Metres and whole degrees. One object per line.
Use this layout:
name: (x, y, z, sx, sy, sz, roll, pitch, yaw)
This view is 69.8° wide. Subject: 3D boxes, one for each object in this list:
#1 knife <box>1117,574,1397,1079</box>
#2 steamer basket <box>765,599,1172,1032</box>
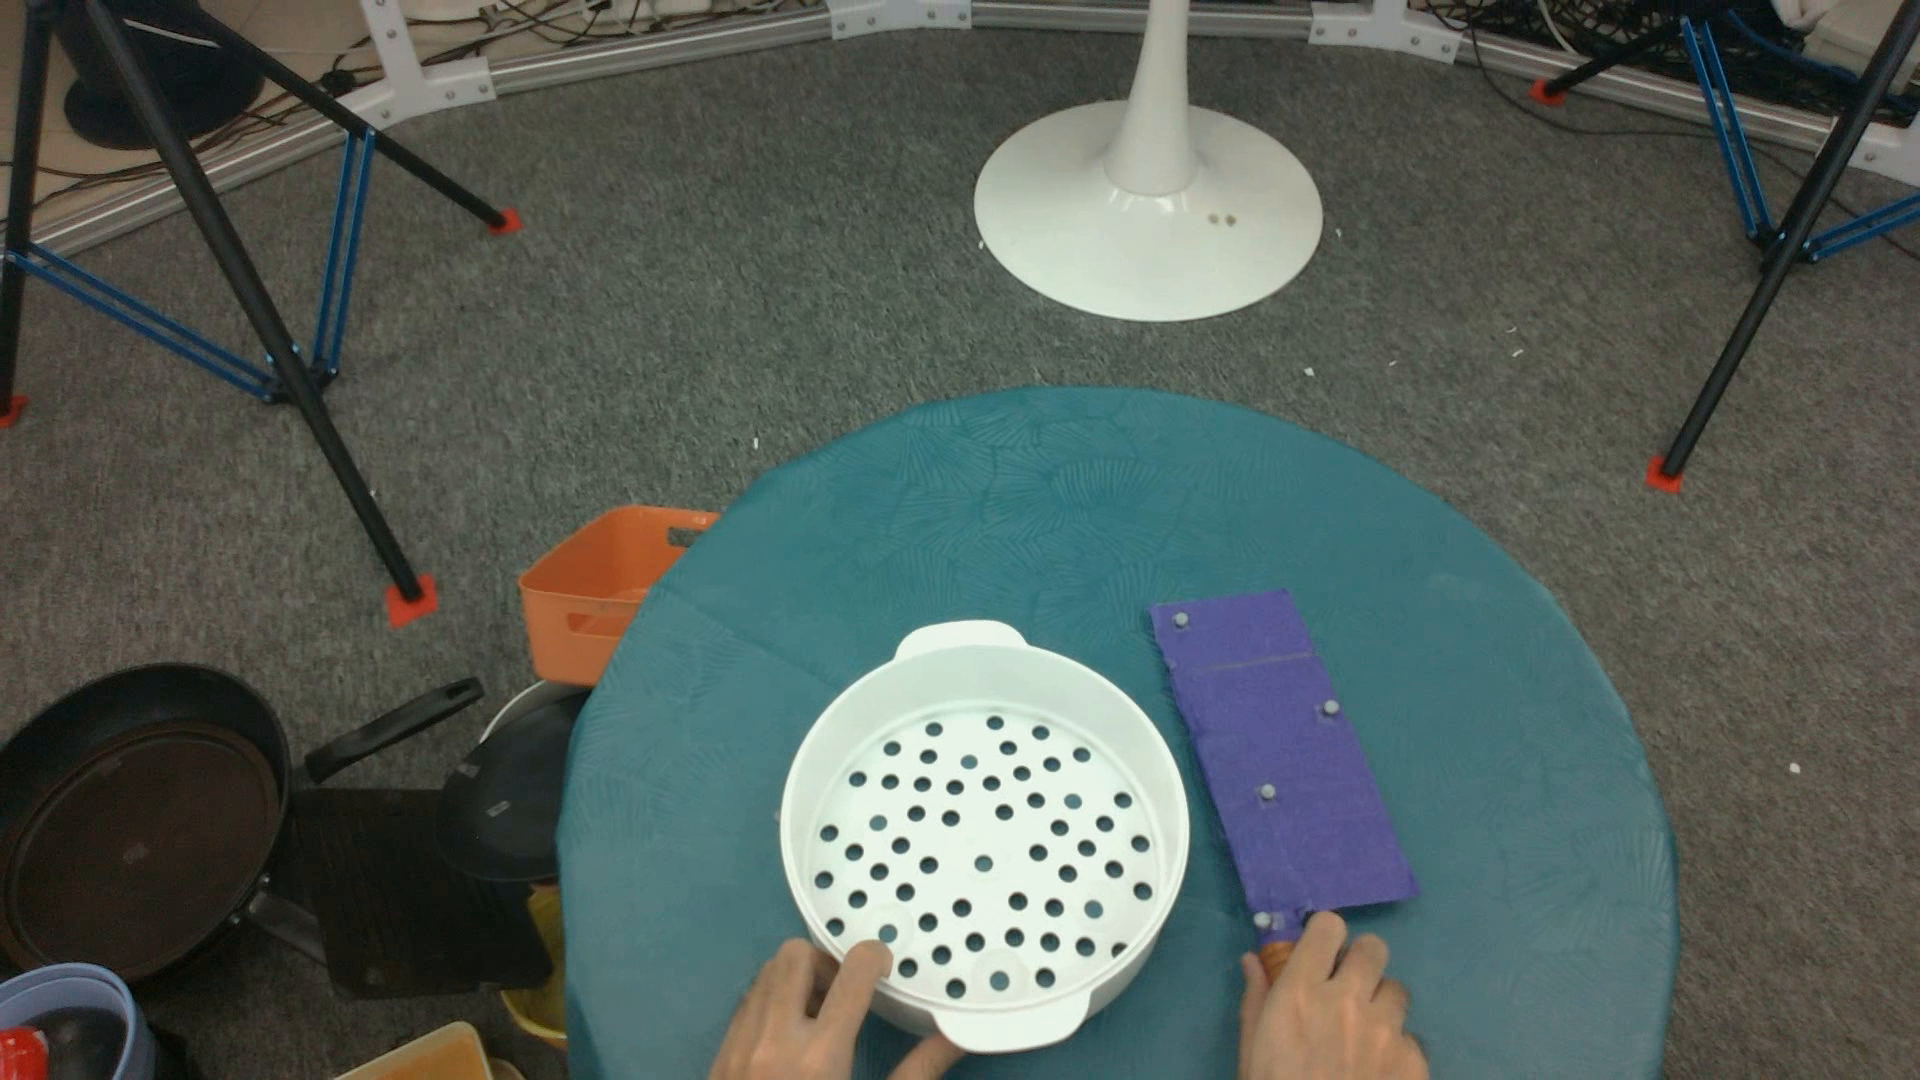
knife: (0.173, 0.137, 0.729, 0.104, 0.032, 0.316, -7, 49, -9)
steamer basket: (0.004, 0.142, 0.705, 0.202, 0.069, 0.231, -6, 54, -4)
